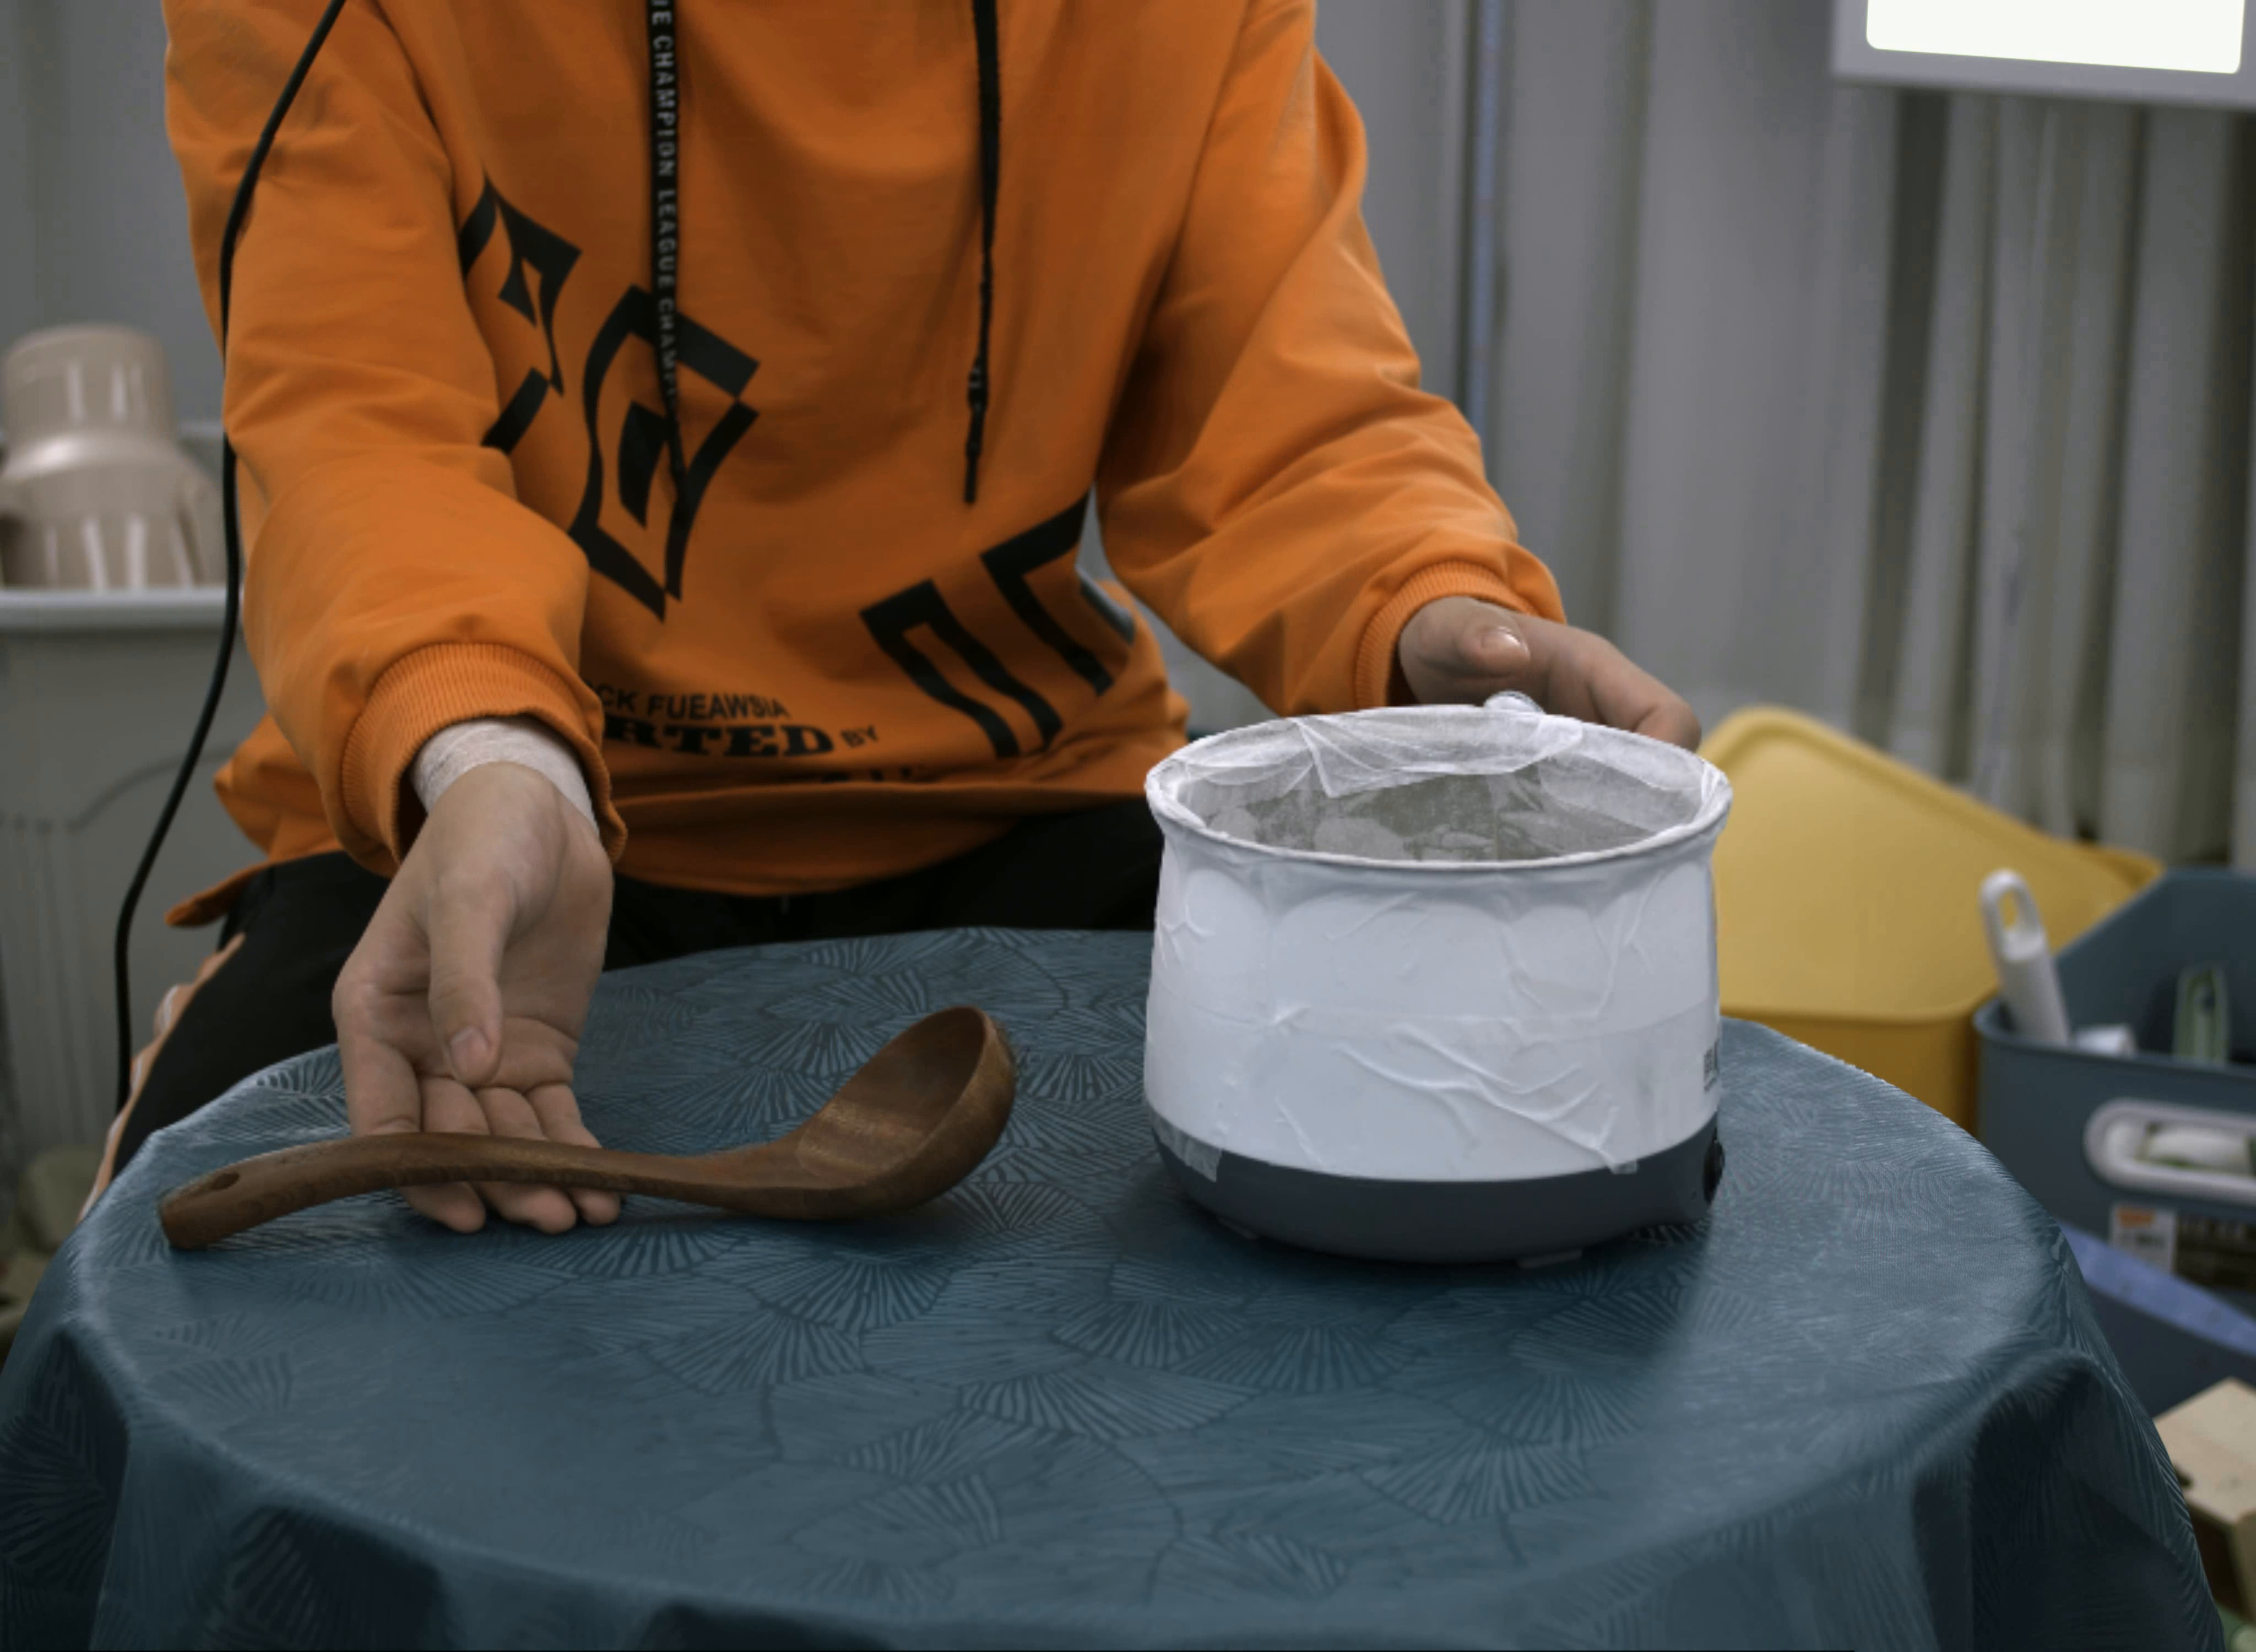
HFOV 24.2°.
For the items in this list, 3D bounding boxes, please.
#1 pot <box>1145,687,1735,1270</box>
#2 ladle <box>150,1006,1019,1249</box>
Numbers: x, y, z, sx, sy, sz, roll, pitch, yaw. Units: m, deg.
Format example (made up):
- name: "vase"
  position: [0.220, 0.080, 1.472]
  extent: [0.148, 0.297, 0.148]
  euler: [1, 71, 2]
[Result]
- name: "pot"
  position: [0.100, 0.040, 1.626]
  extent: [0.177, 0.138, 0.233]
  euler: [5, 17, 14]
- name: "ladle"
  position: [-0.162, 0.090, 1.578]
  extent: [0.260, 0.065, 0.076]
  euler: [-1, 18, -8]
